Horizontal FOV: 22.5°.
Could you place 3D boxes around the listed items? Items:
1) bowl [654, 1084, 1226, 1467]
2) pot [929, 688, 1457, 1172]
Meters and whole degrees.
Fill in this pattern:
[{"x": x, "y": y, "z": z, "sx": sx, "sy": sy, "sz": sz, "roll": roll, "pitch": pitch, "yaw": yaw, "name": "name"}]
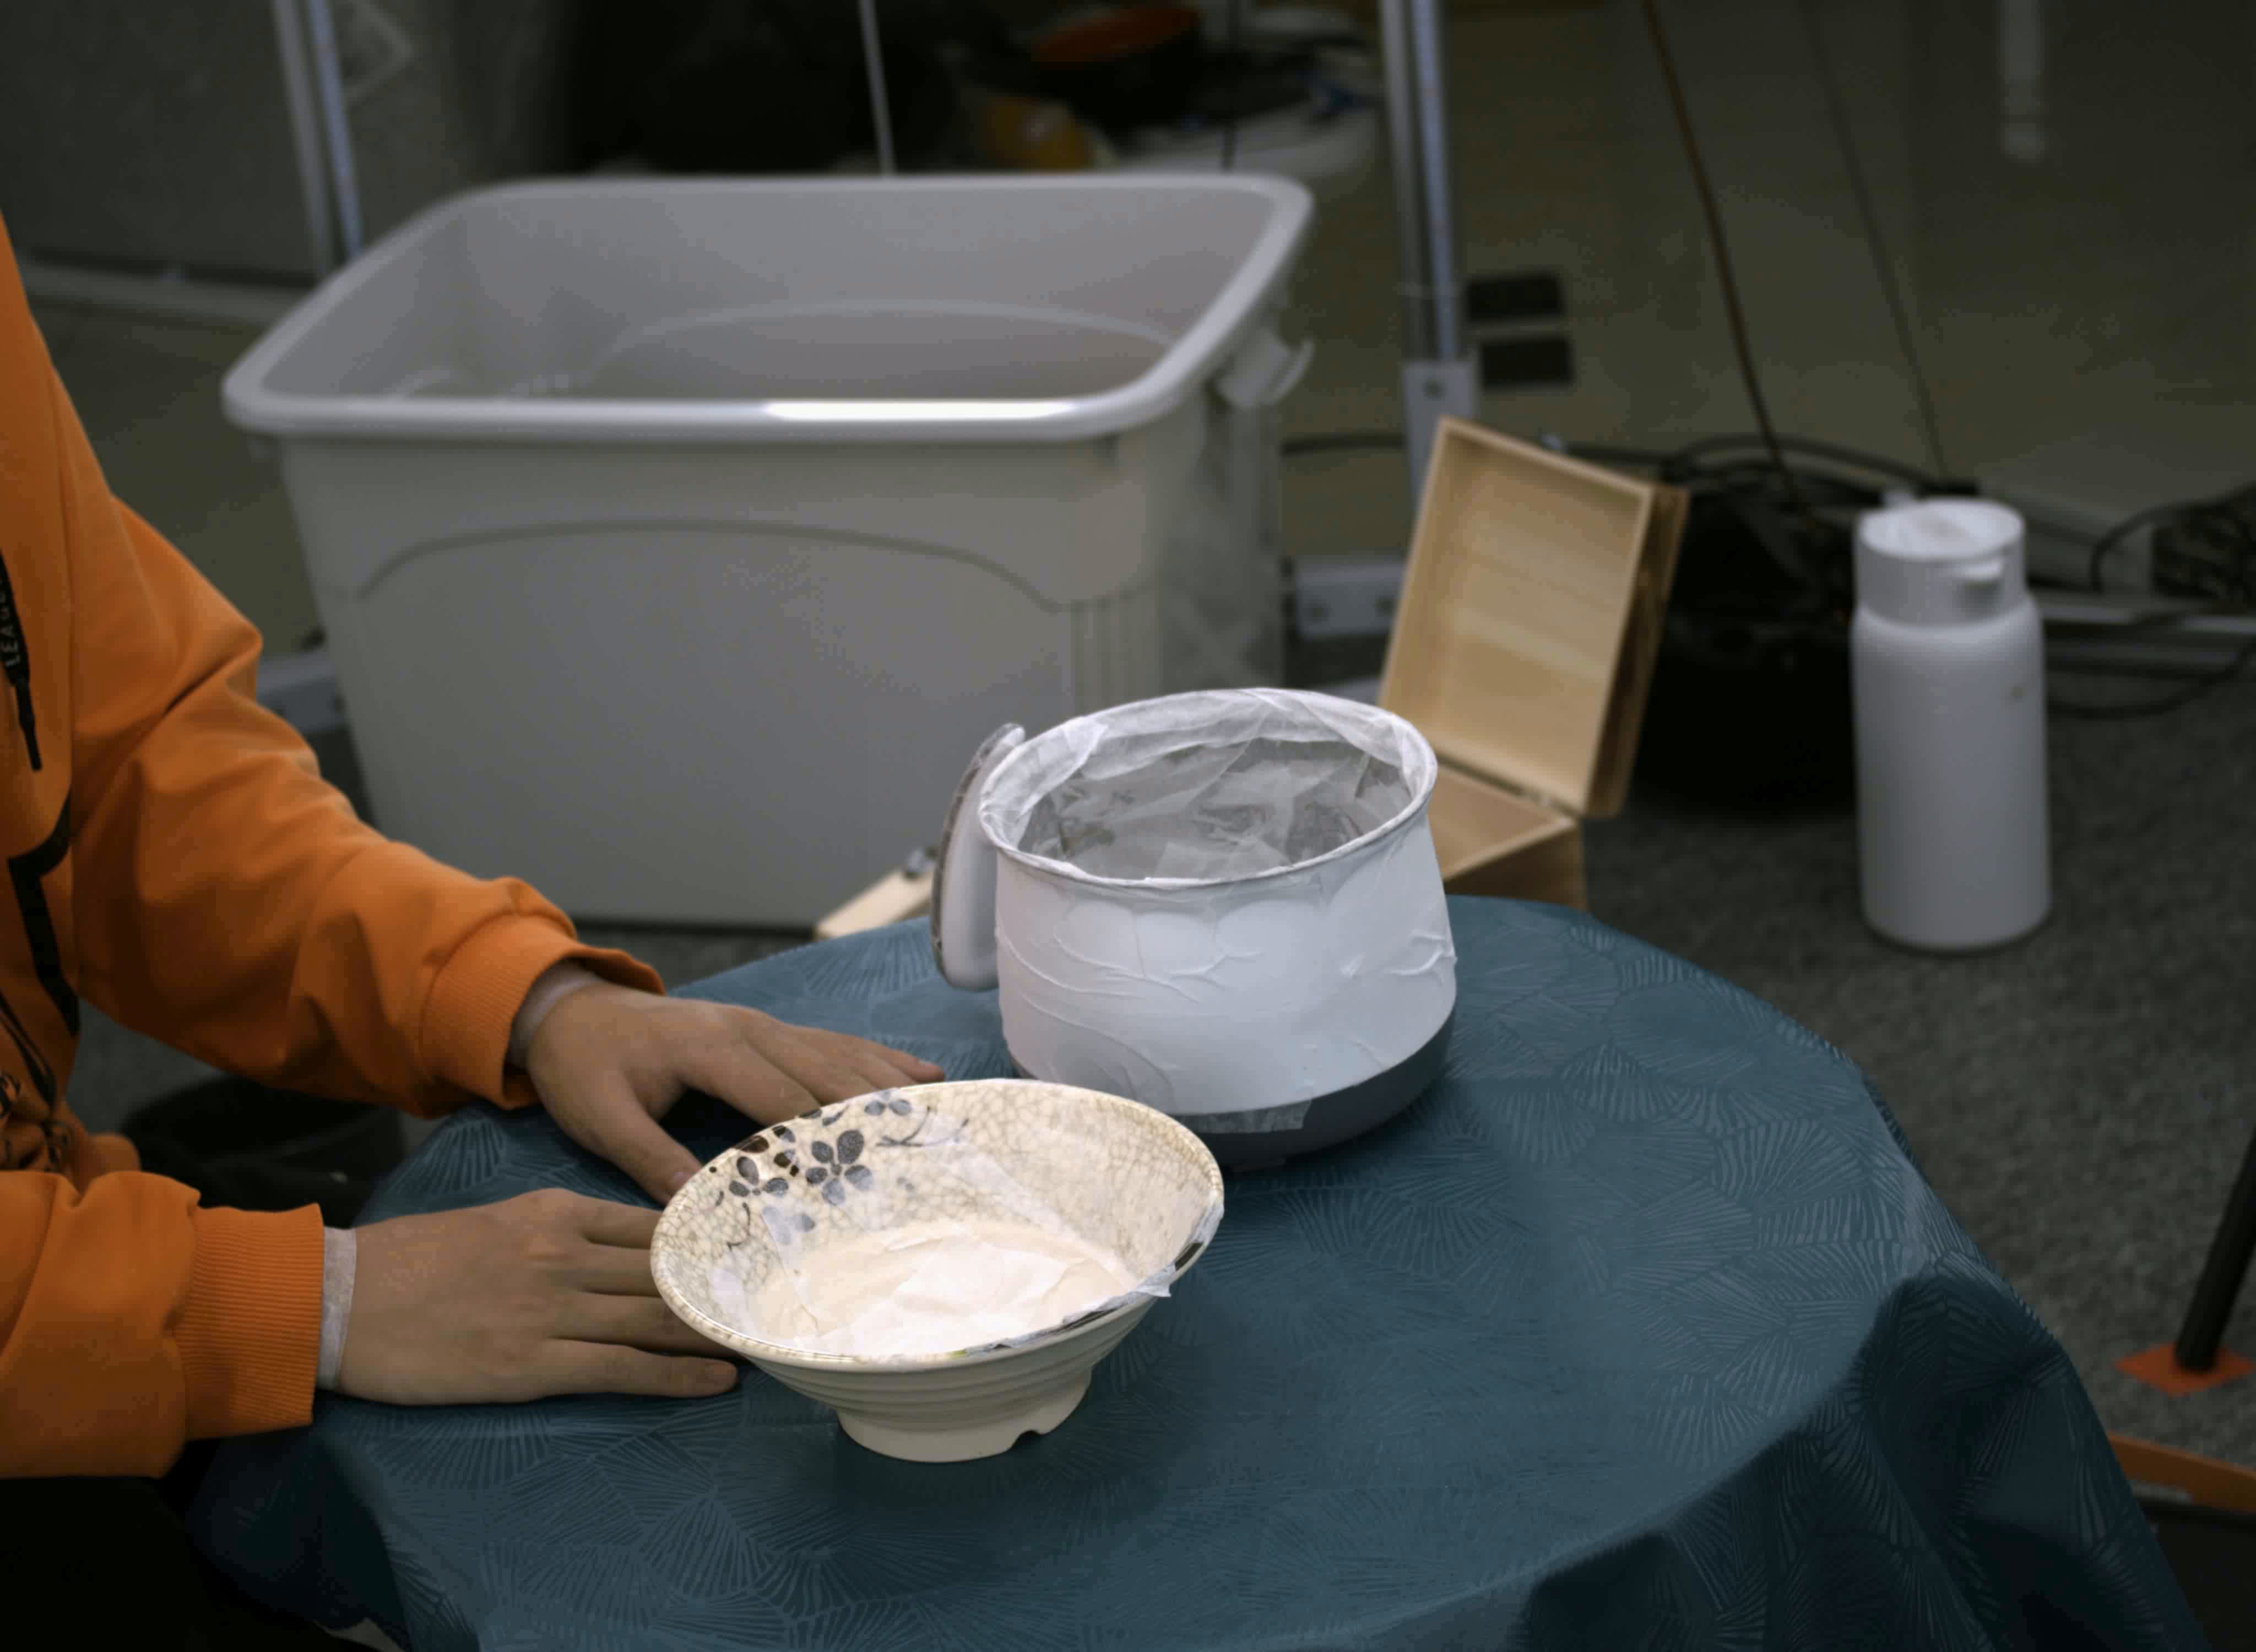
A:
[{"x": -0.061, "y": 0.171, "z": 2.005, "sx": 0.204, "sy": 0.079, "sz": 0.201, "roll": -8, "pitch": 25, "yaw": 4, "name": "bowl"}, {"x": 0.014, "y": 0.036, "z": 2.200, "sx": 0.232, "sy": 0.139, "sz": 0.177, "roll": 14, "pitch": 31, "yaw": 36, "name": "pot"}]
